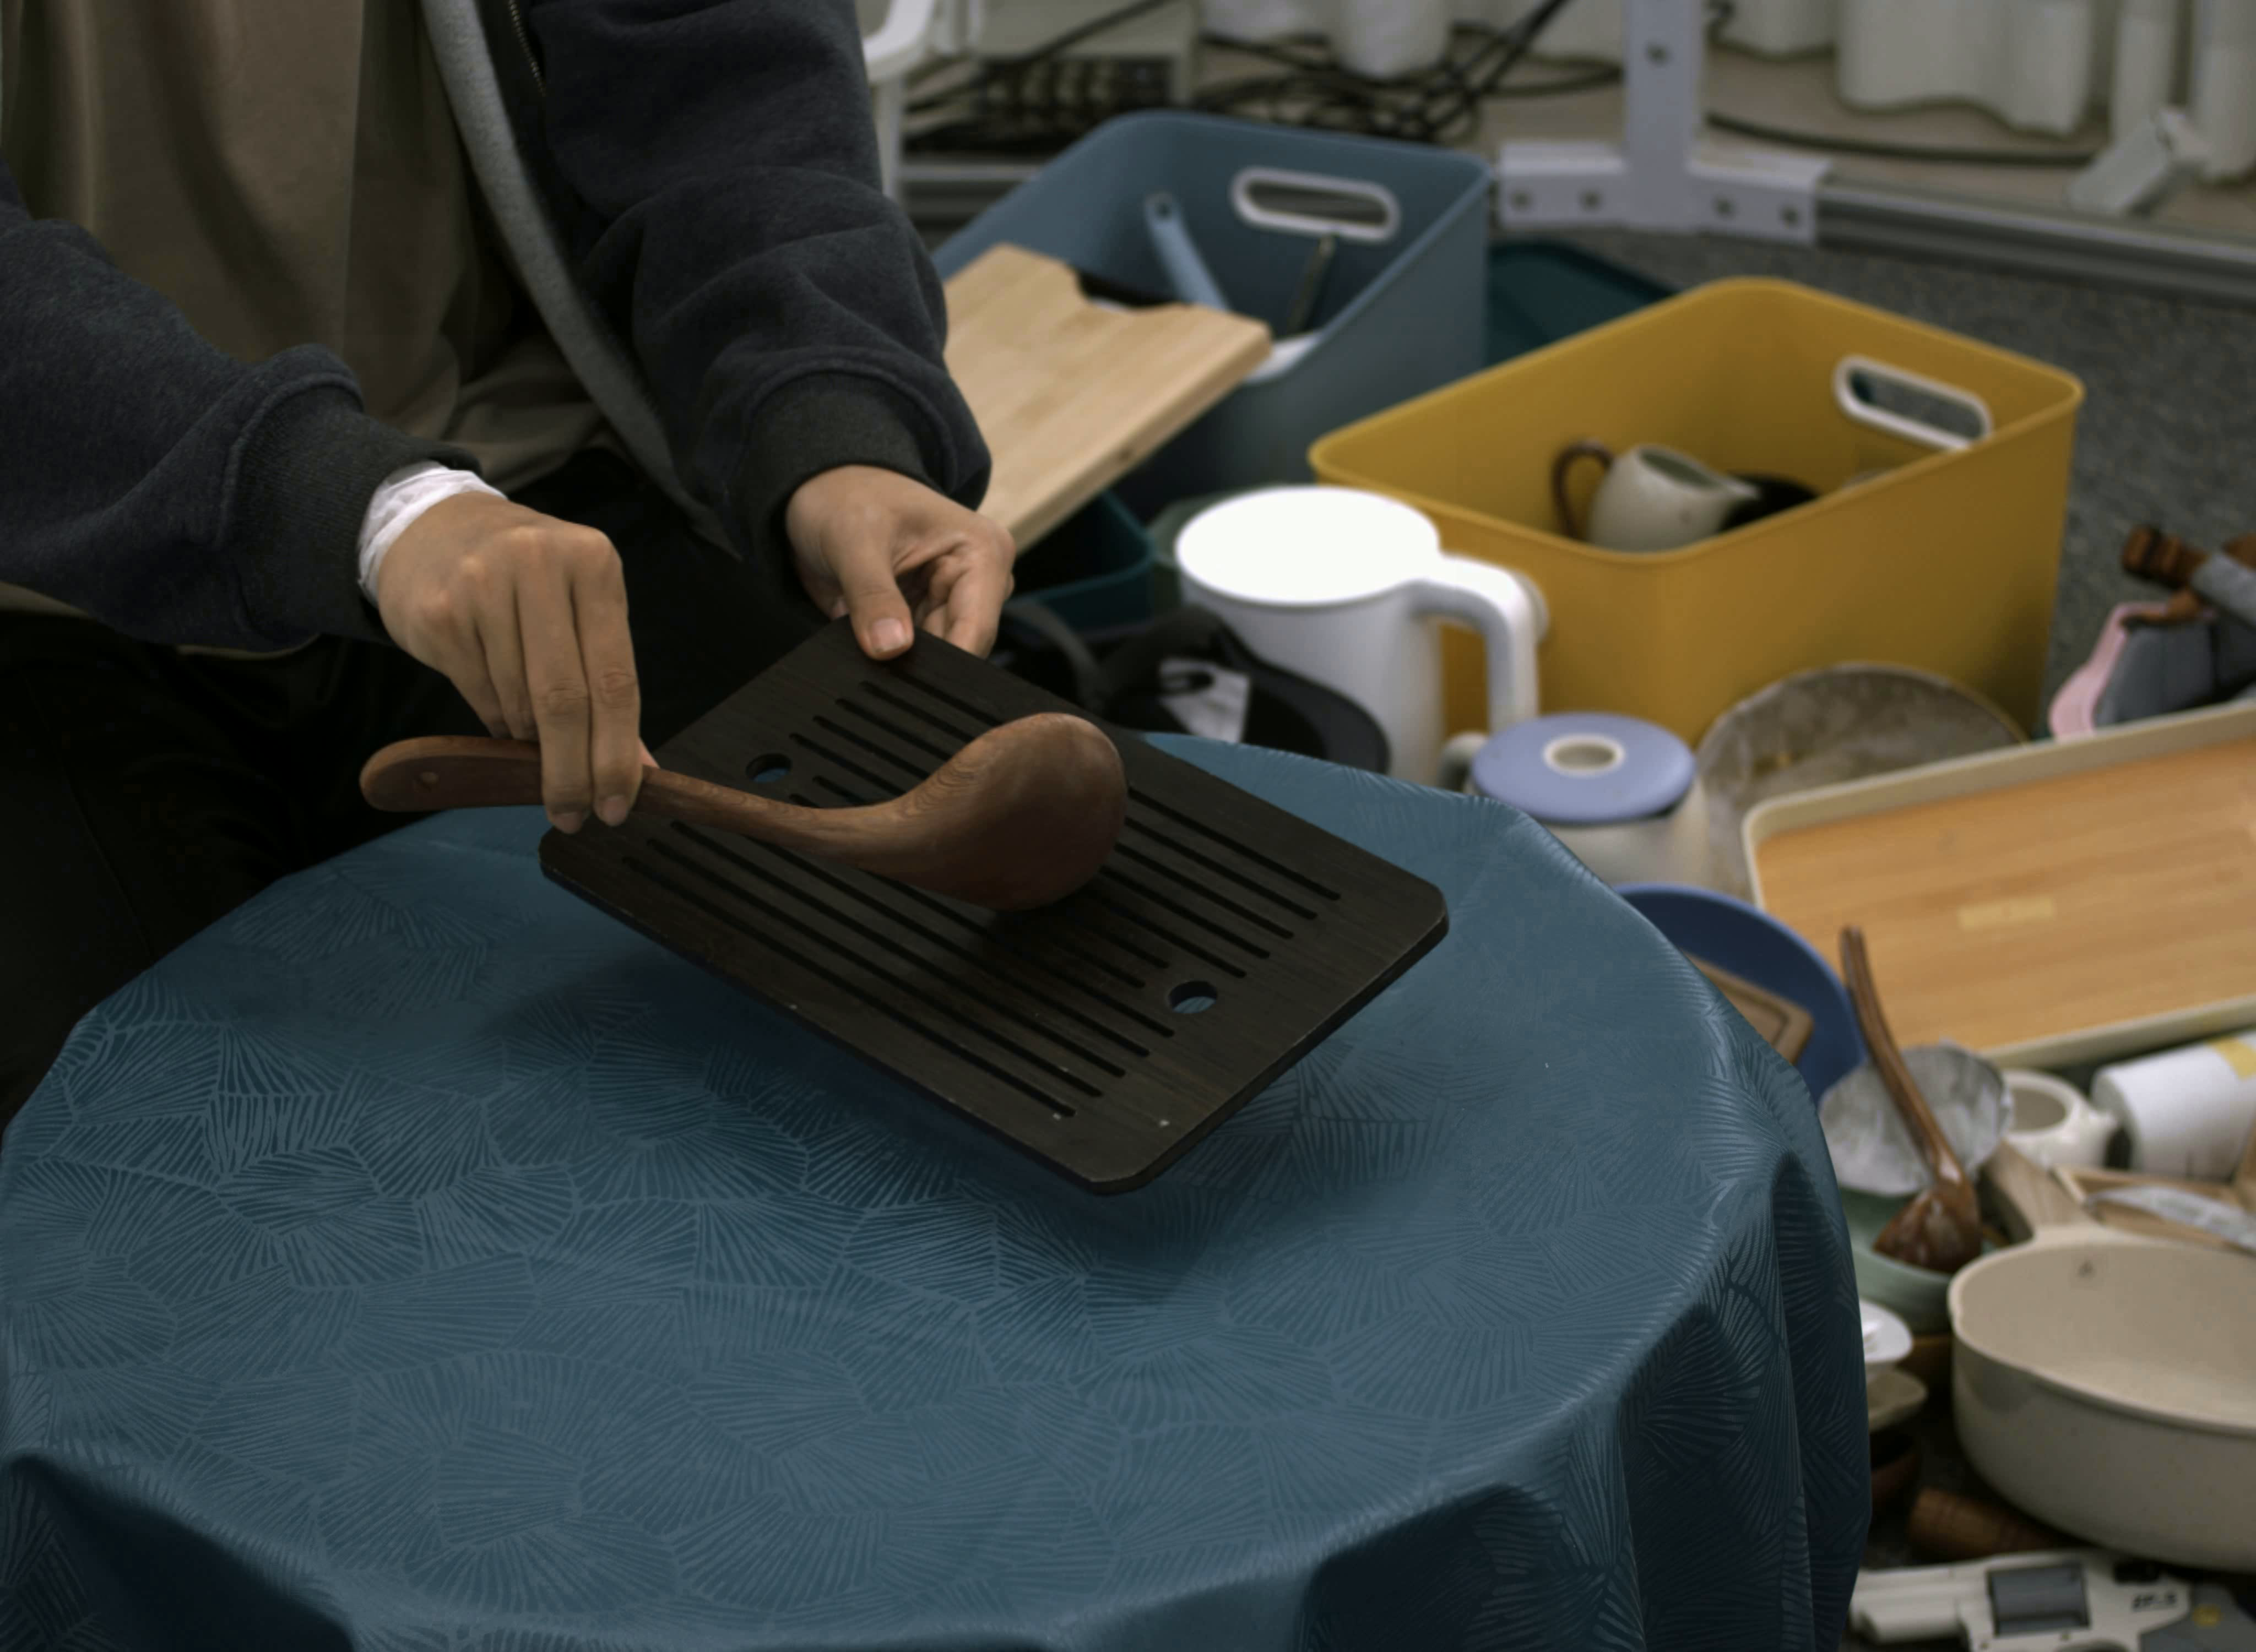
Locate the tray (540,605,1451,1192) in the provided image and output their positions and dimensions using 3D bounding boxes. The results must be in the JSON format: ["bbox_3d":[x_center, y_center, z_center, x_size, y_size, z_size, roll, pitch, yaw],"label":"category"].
[{"bbox_3d":[-0.049,0.021,1.935,0.172,0.018,0.306,-37,44,-28],"label":"tray"}]

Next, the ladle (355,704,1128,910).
[{"bbox_3d":[-0.129,-0.016,1.902,0.259,0.075,0.066,7,34,8],"label":"ladle"}]
